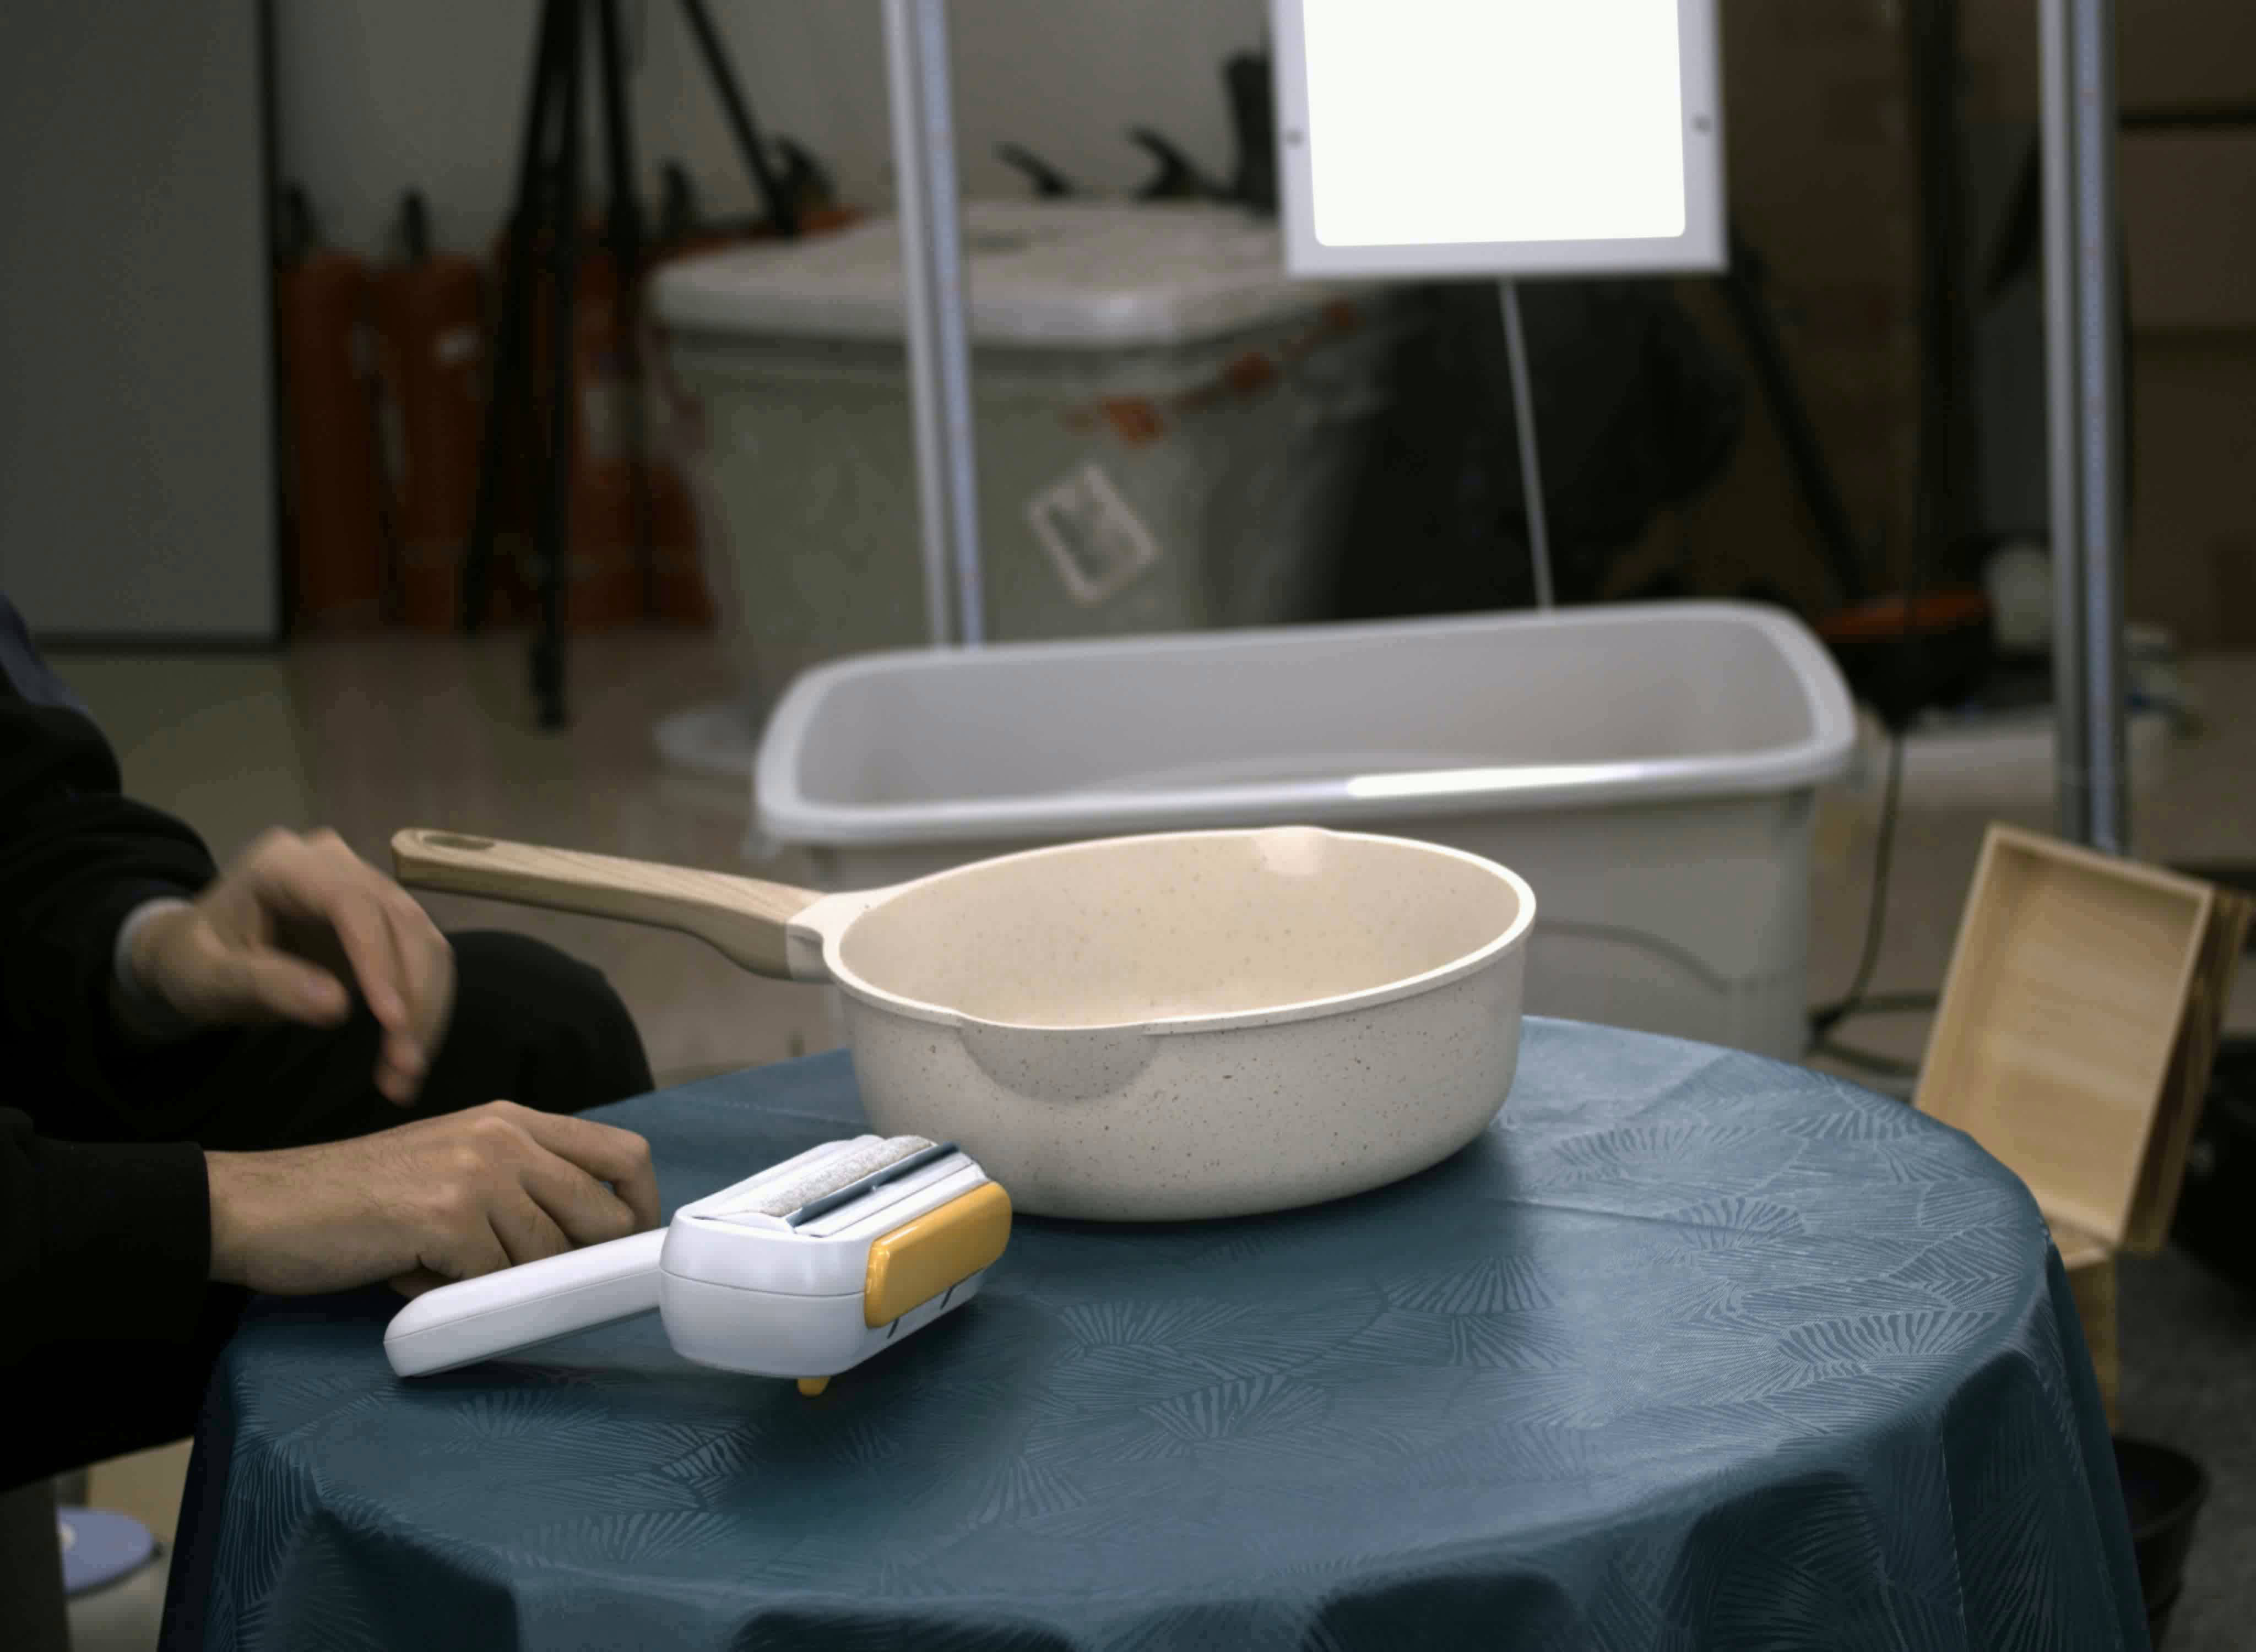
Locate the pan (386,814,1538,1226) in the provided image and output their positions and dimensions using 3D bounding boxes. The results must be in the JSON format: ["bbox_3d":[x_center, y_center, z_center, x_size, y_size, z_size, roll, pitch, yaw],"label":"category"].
[{"bbox_3d":[-0.064,0.062,1.973,0.441,0.102,0.258,1,17,23],"label":"pan"}]

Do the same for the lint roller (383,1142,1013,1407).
[{"bbox_3d":[-0.148,0.143,1.741,0.195,0.074,0.189,-2,8,20],"label":"lint roller"}]
